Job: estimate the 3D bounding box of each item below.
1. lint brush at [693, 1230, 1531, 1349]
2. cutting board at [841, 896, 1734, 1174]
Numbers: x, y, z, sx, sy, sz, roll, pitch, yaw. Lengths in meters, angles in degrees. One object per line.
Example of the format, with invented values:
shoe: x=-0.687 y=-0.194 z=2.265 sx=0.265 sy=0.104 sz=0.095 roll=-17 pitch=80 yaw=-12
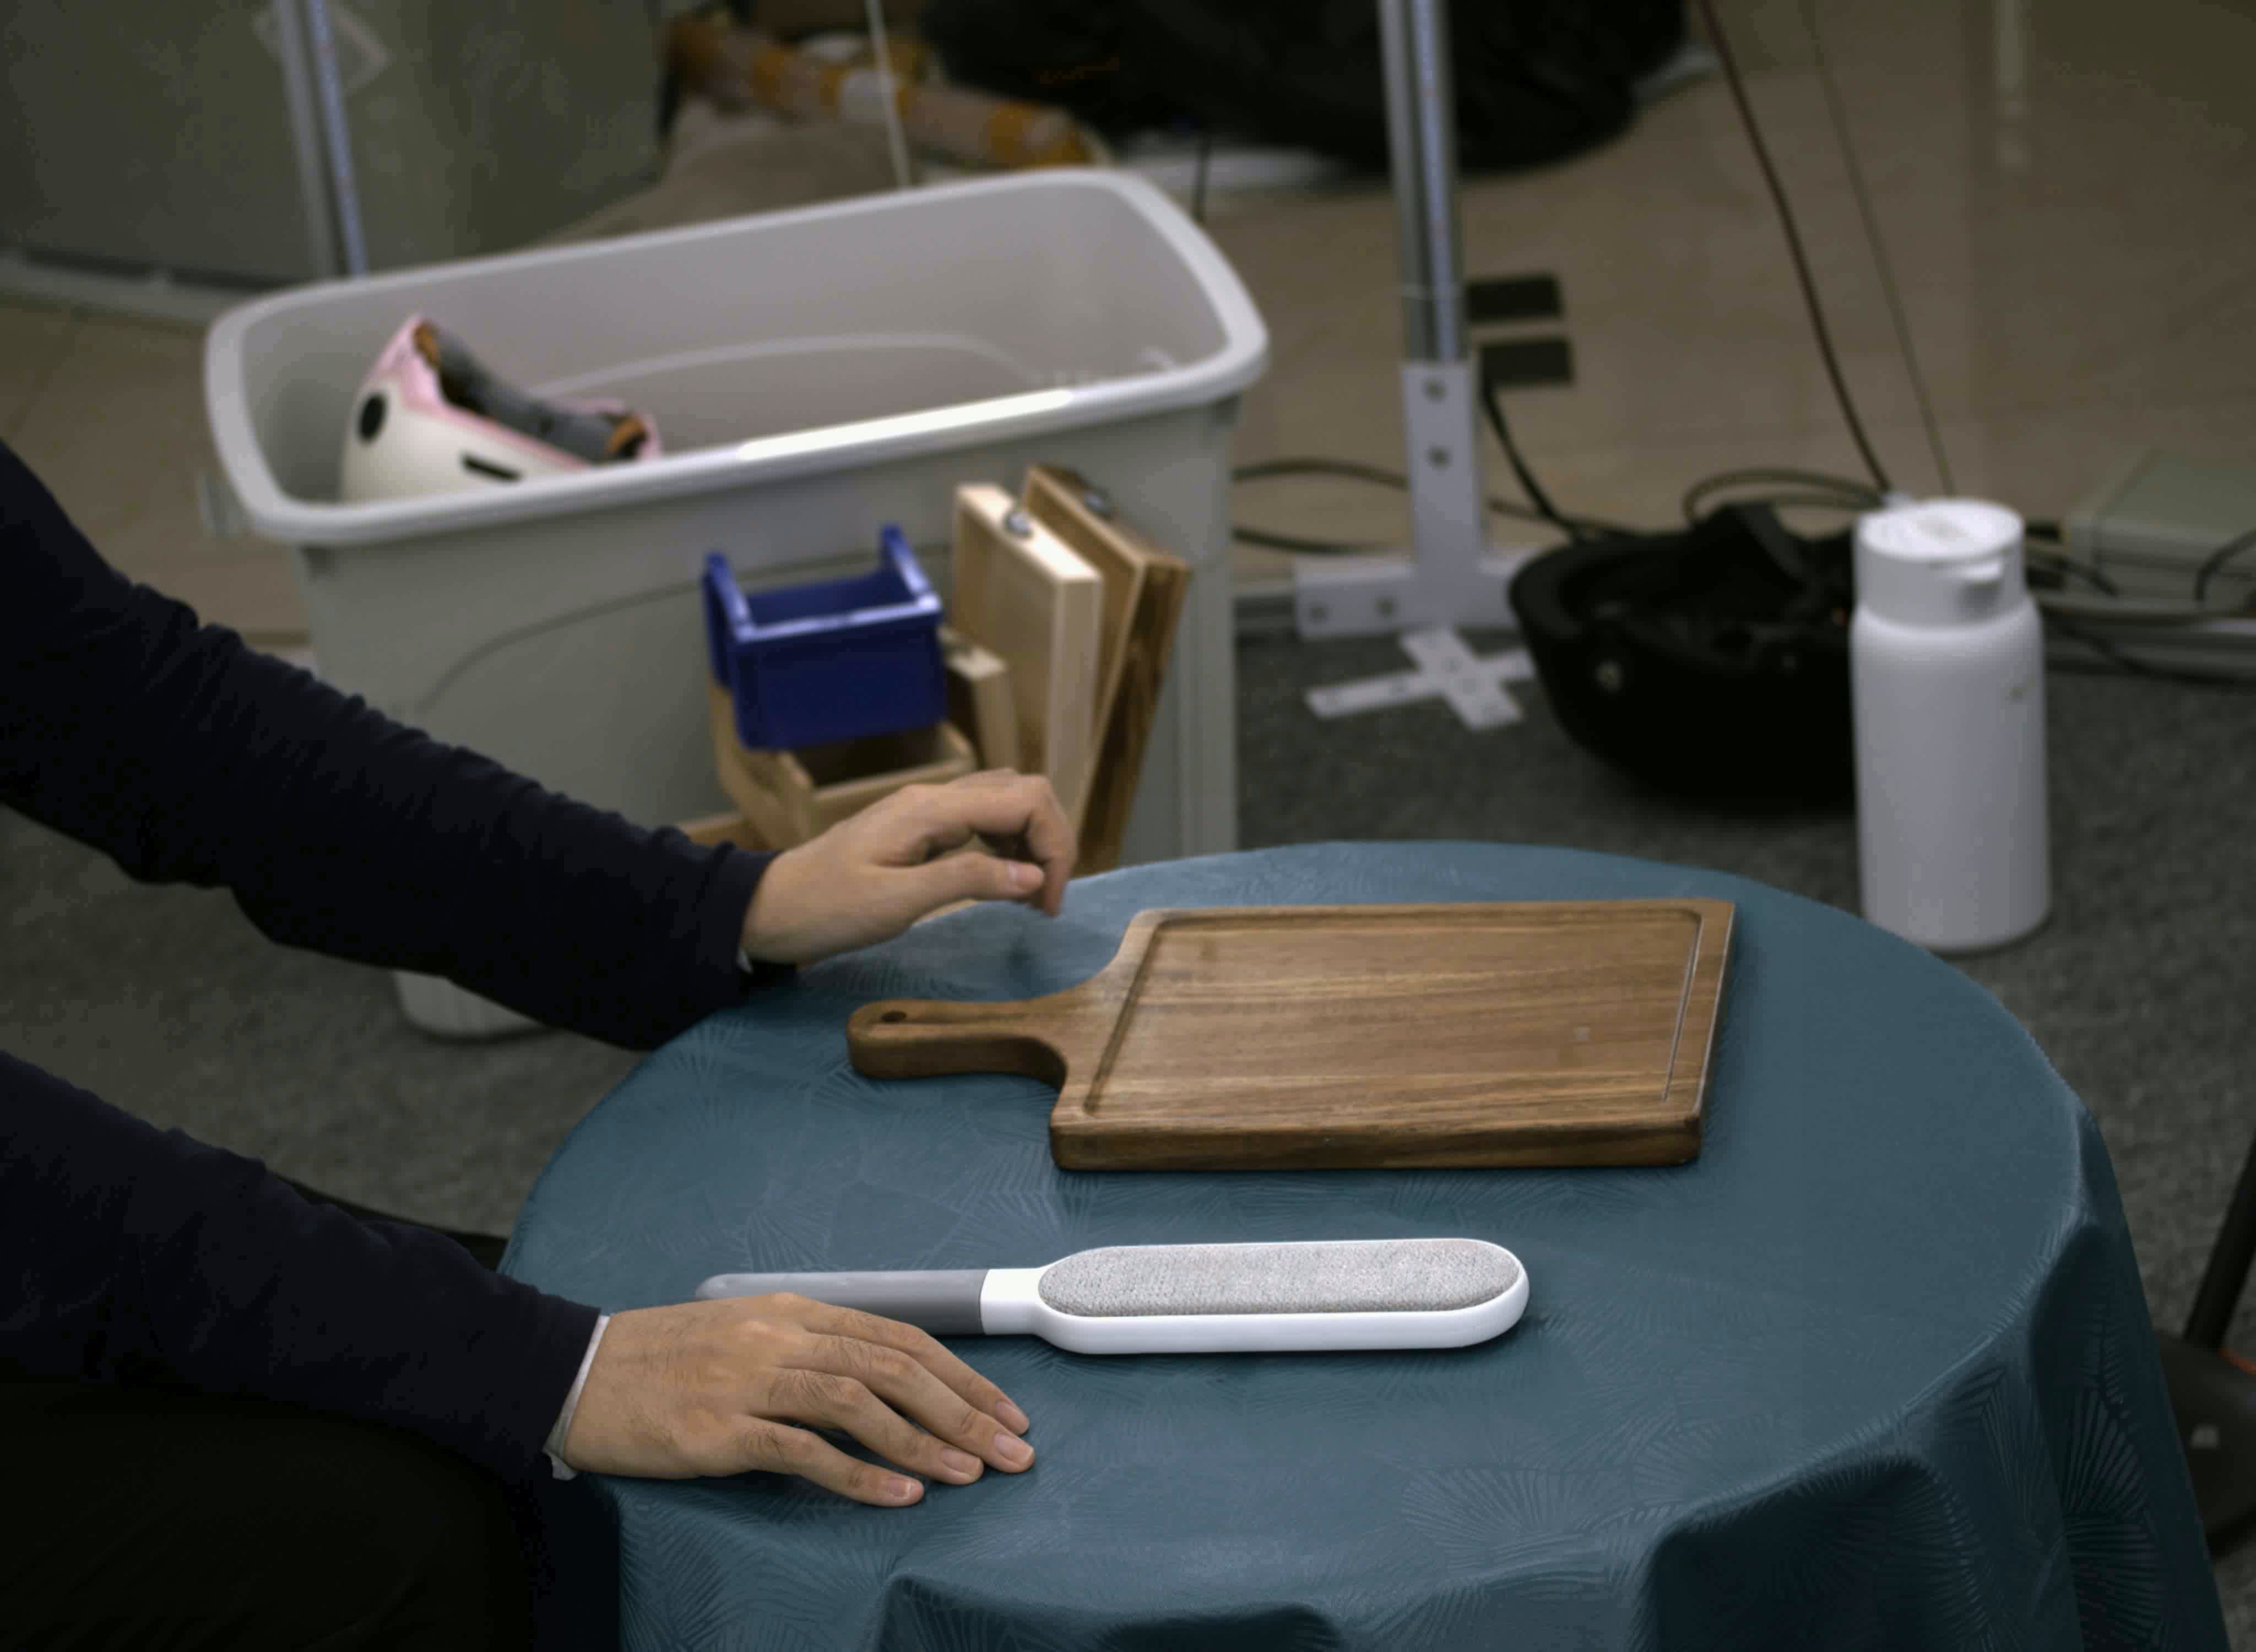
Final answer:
lint brush: x=-0.008 y=0.168 z=2.058 sx=0.308 sy=0.021 sz=0.059 roll=-2 pitch=31 yaw=11
cutting board: x=0.059 y=0.082 z=2.237 sx=0.351 sy=0.023 sz=0.198 roll=-2 pitch=25 yaw=12
